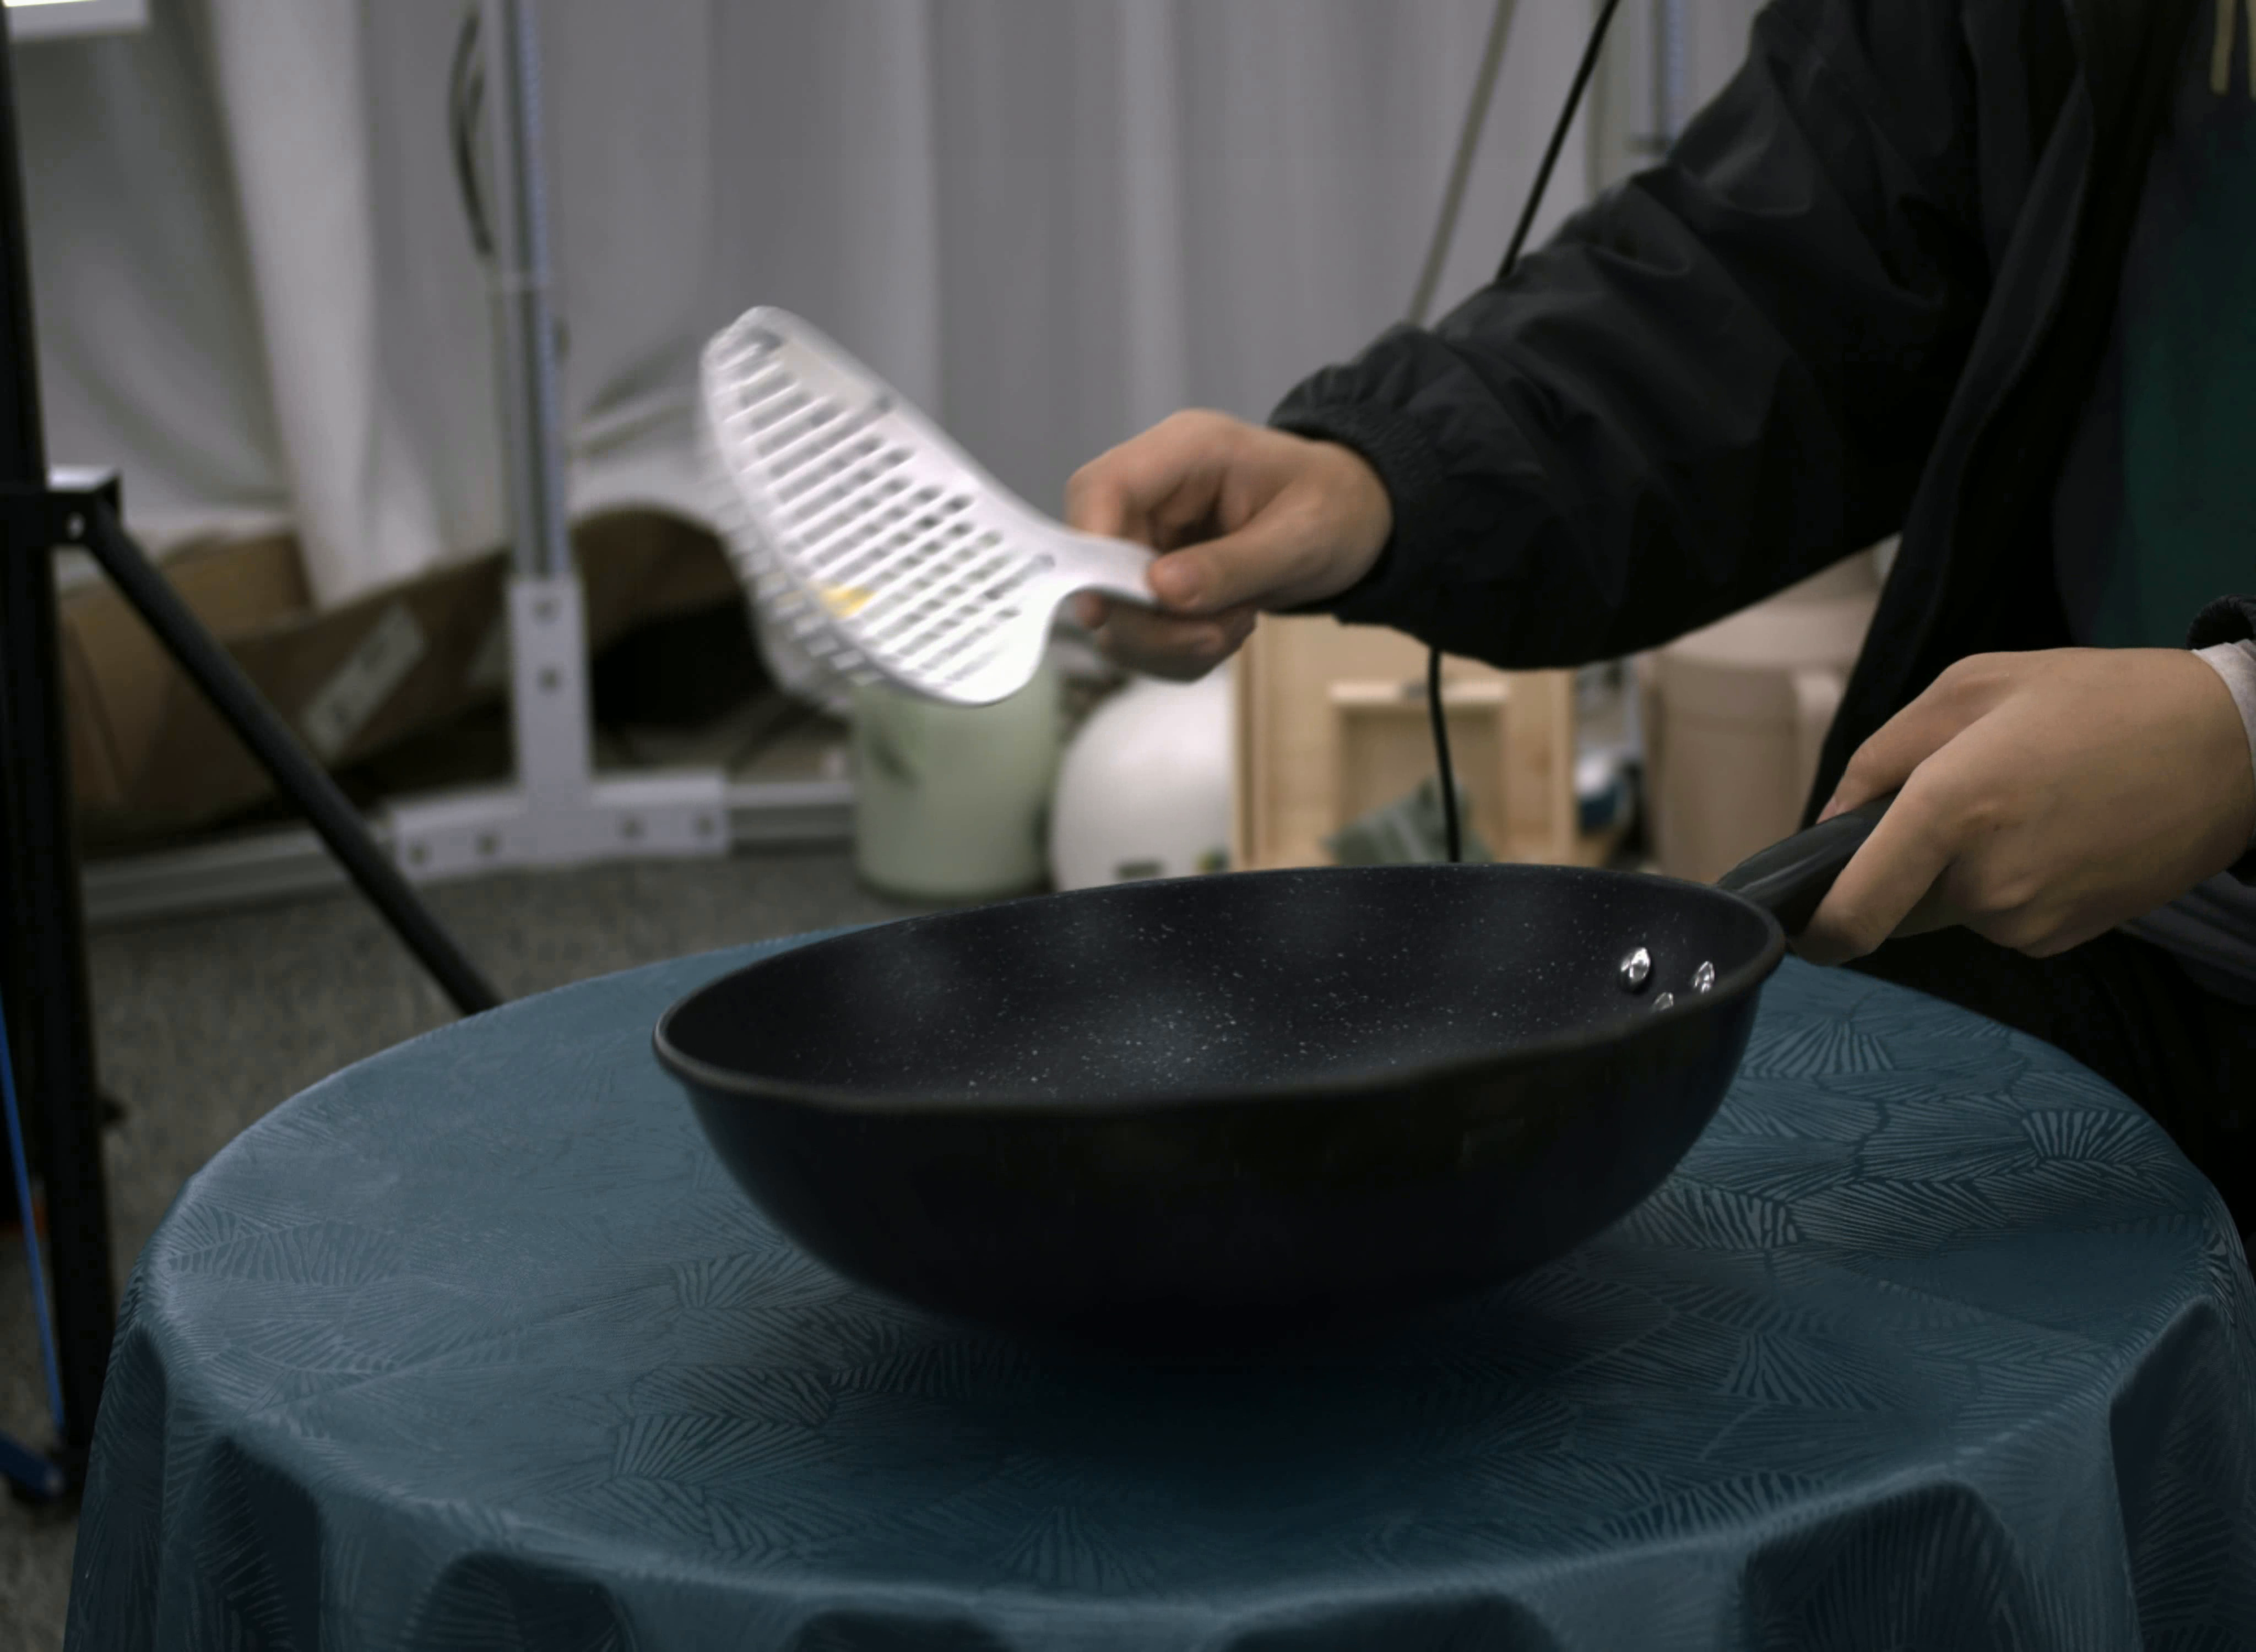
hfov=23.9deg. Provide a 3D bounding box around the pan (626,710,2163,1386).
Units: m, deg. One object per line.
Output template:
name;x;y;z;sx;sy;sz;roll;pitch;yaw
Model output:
pan;0.095;0.061;1.470;0.467;0.112;0.316;-11;13;-24

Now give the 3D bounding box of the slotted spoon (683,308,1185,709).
slotted spoon;-0.044;-0.077;1.653;0.051;0.138;0.340;-37;-19;22
